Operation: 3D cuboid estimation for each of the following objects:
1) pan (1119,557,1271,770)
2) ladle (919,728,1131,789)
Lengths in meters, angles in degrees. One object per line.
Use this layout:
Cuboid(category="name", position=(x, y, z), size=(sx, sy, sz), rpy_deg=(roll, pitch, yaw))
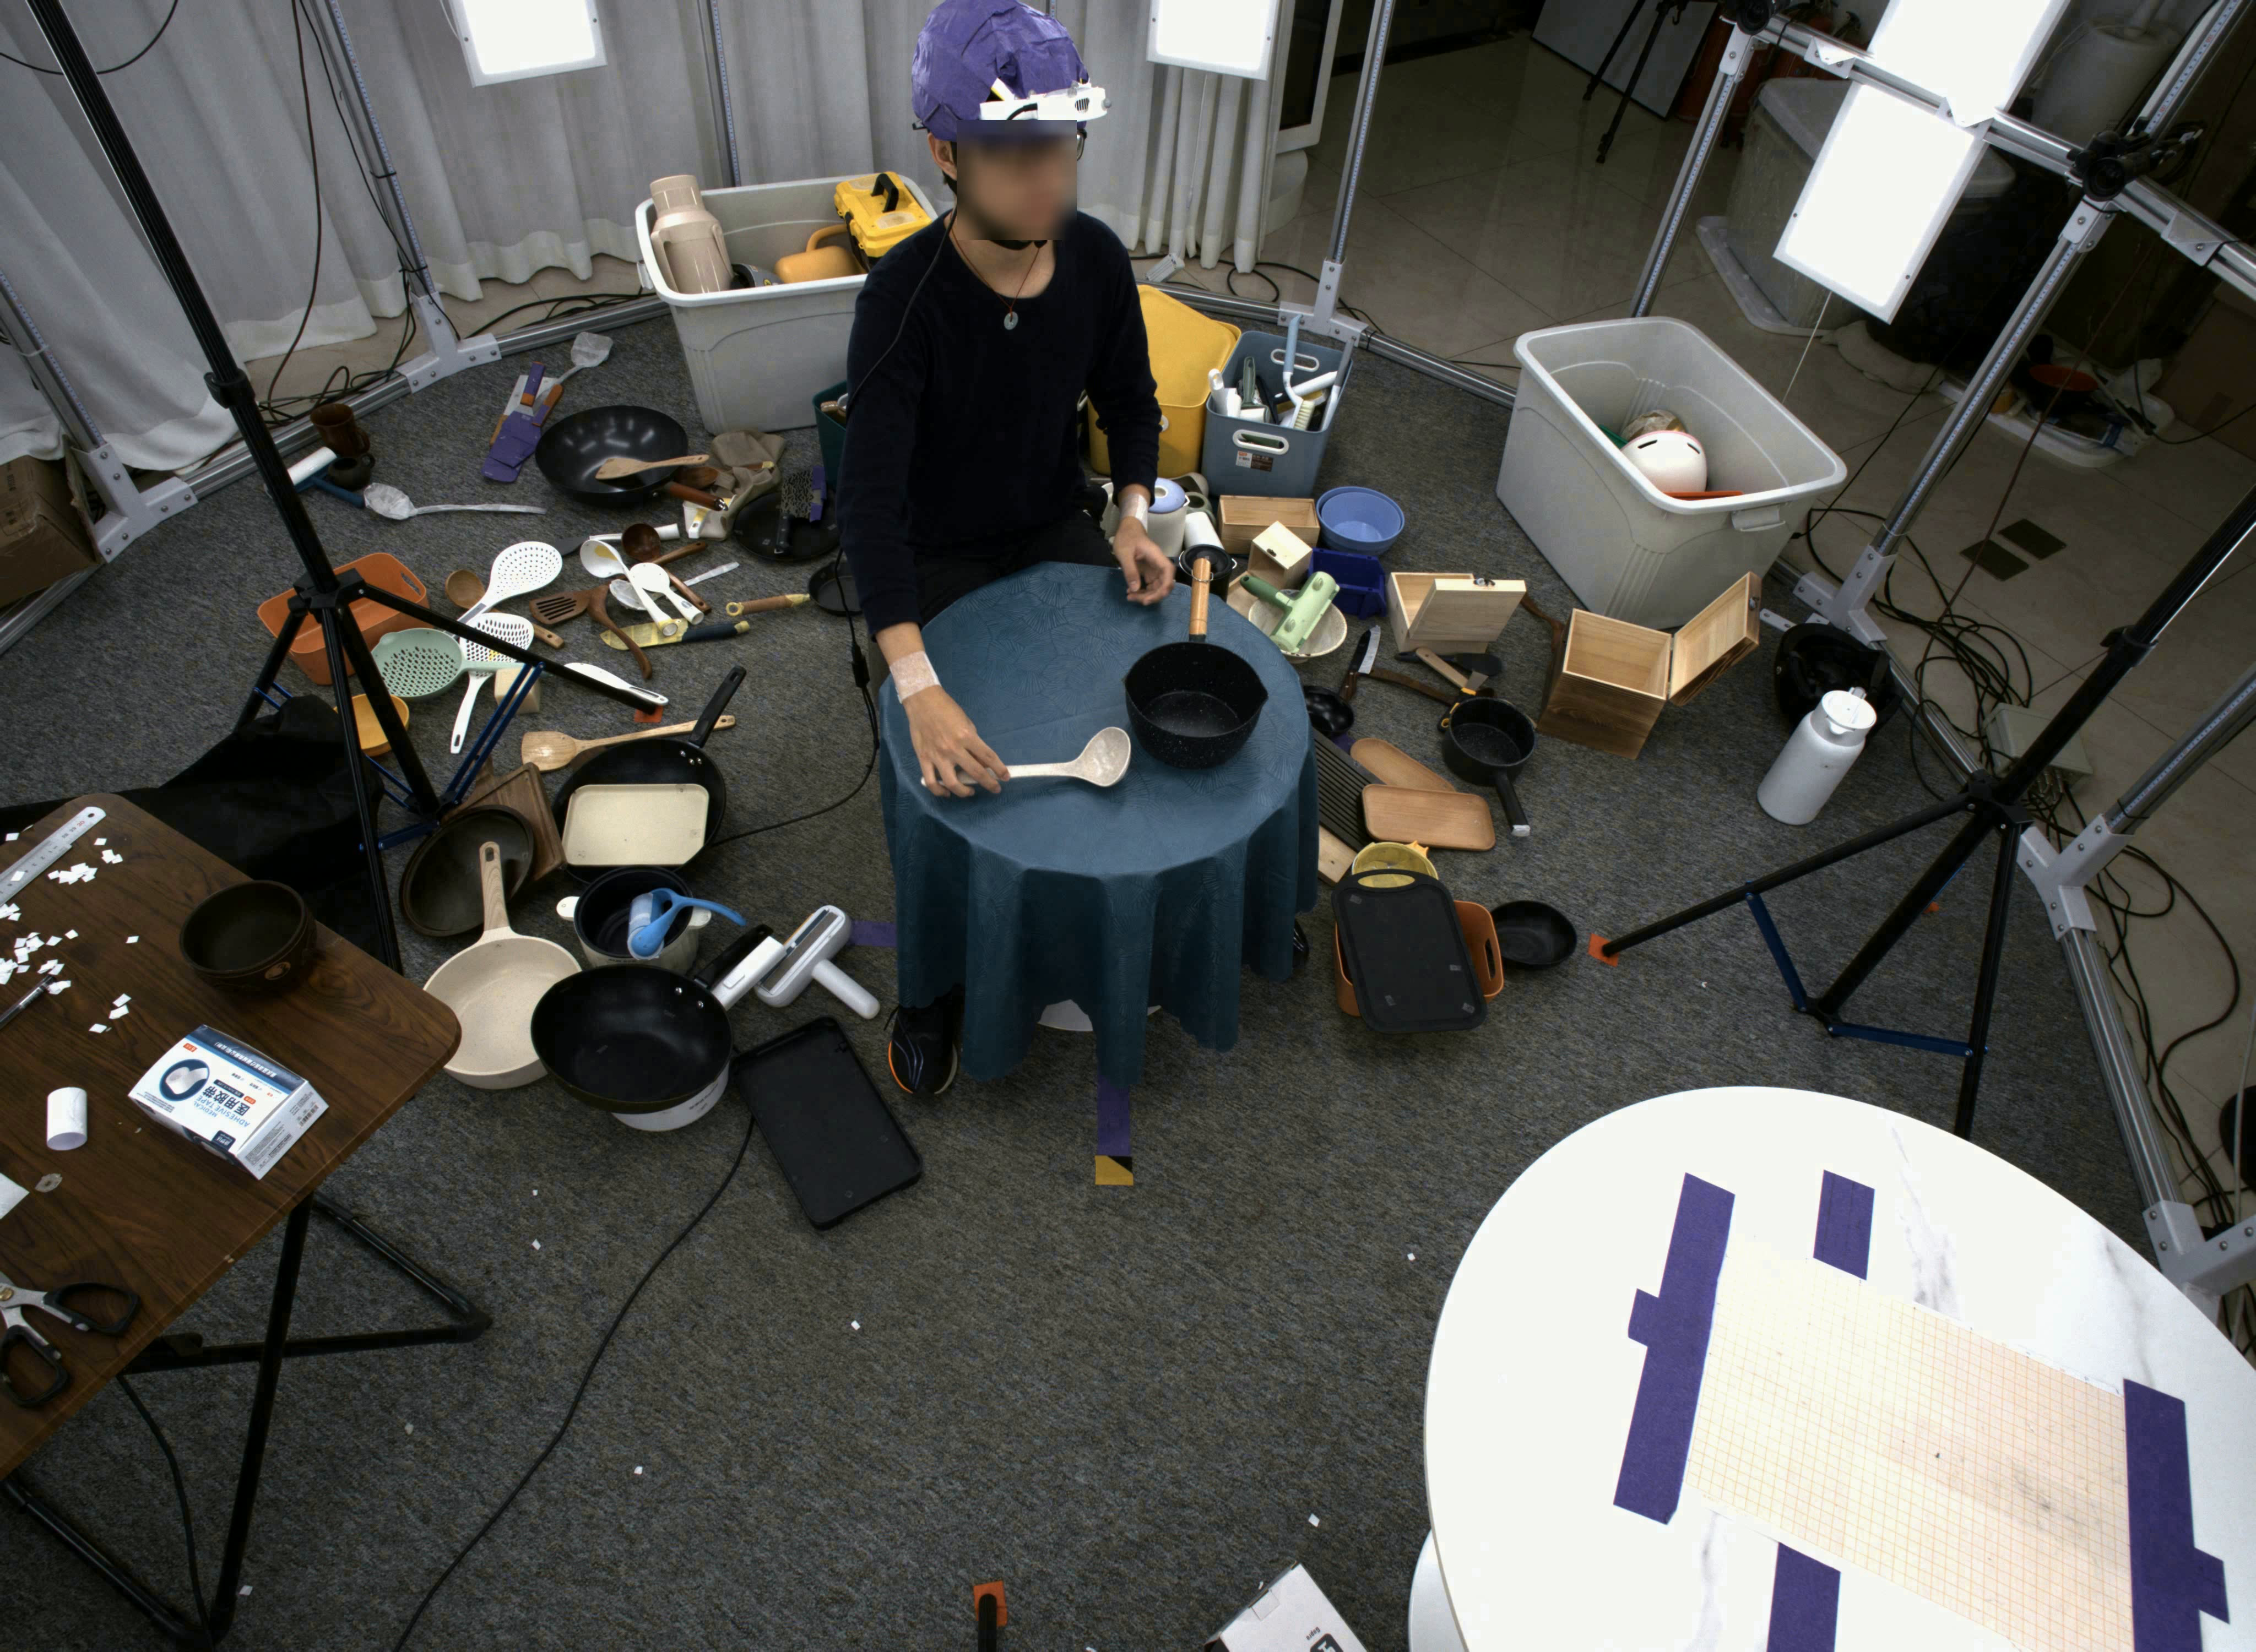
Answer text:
Cuboid(category="pan", position=(0.093, -0.229, 1.804), size=(0.207, 0.105, 0.351), rpy_deg=(3, 50, 1))
Cuboid(category="ladle", position=(-0.132, -0.083, 1.671), size=(0.274, 0.068, 0.091), rpy_deg=(-4, 58, -17))
